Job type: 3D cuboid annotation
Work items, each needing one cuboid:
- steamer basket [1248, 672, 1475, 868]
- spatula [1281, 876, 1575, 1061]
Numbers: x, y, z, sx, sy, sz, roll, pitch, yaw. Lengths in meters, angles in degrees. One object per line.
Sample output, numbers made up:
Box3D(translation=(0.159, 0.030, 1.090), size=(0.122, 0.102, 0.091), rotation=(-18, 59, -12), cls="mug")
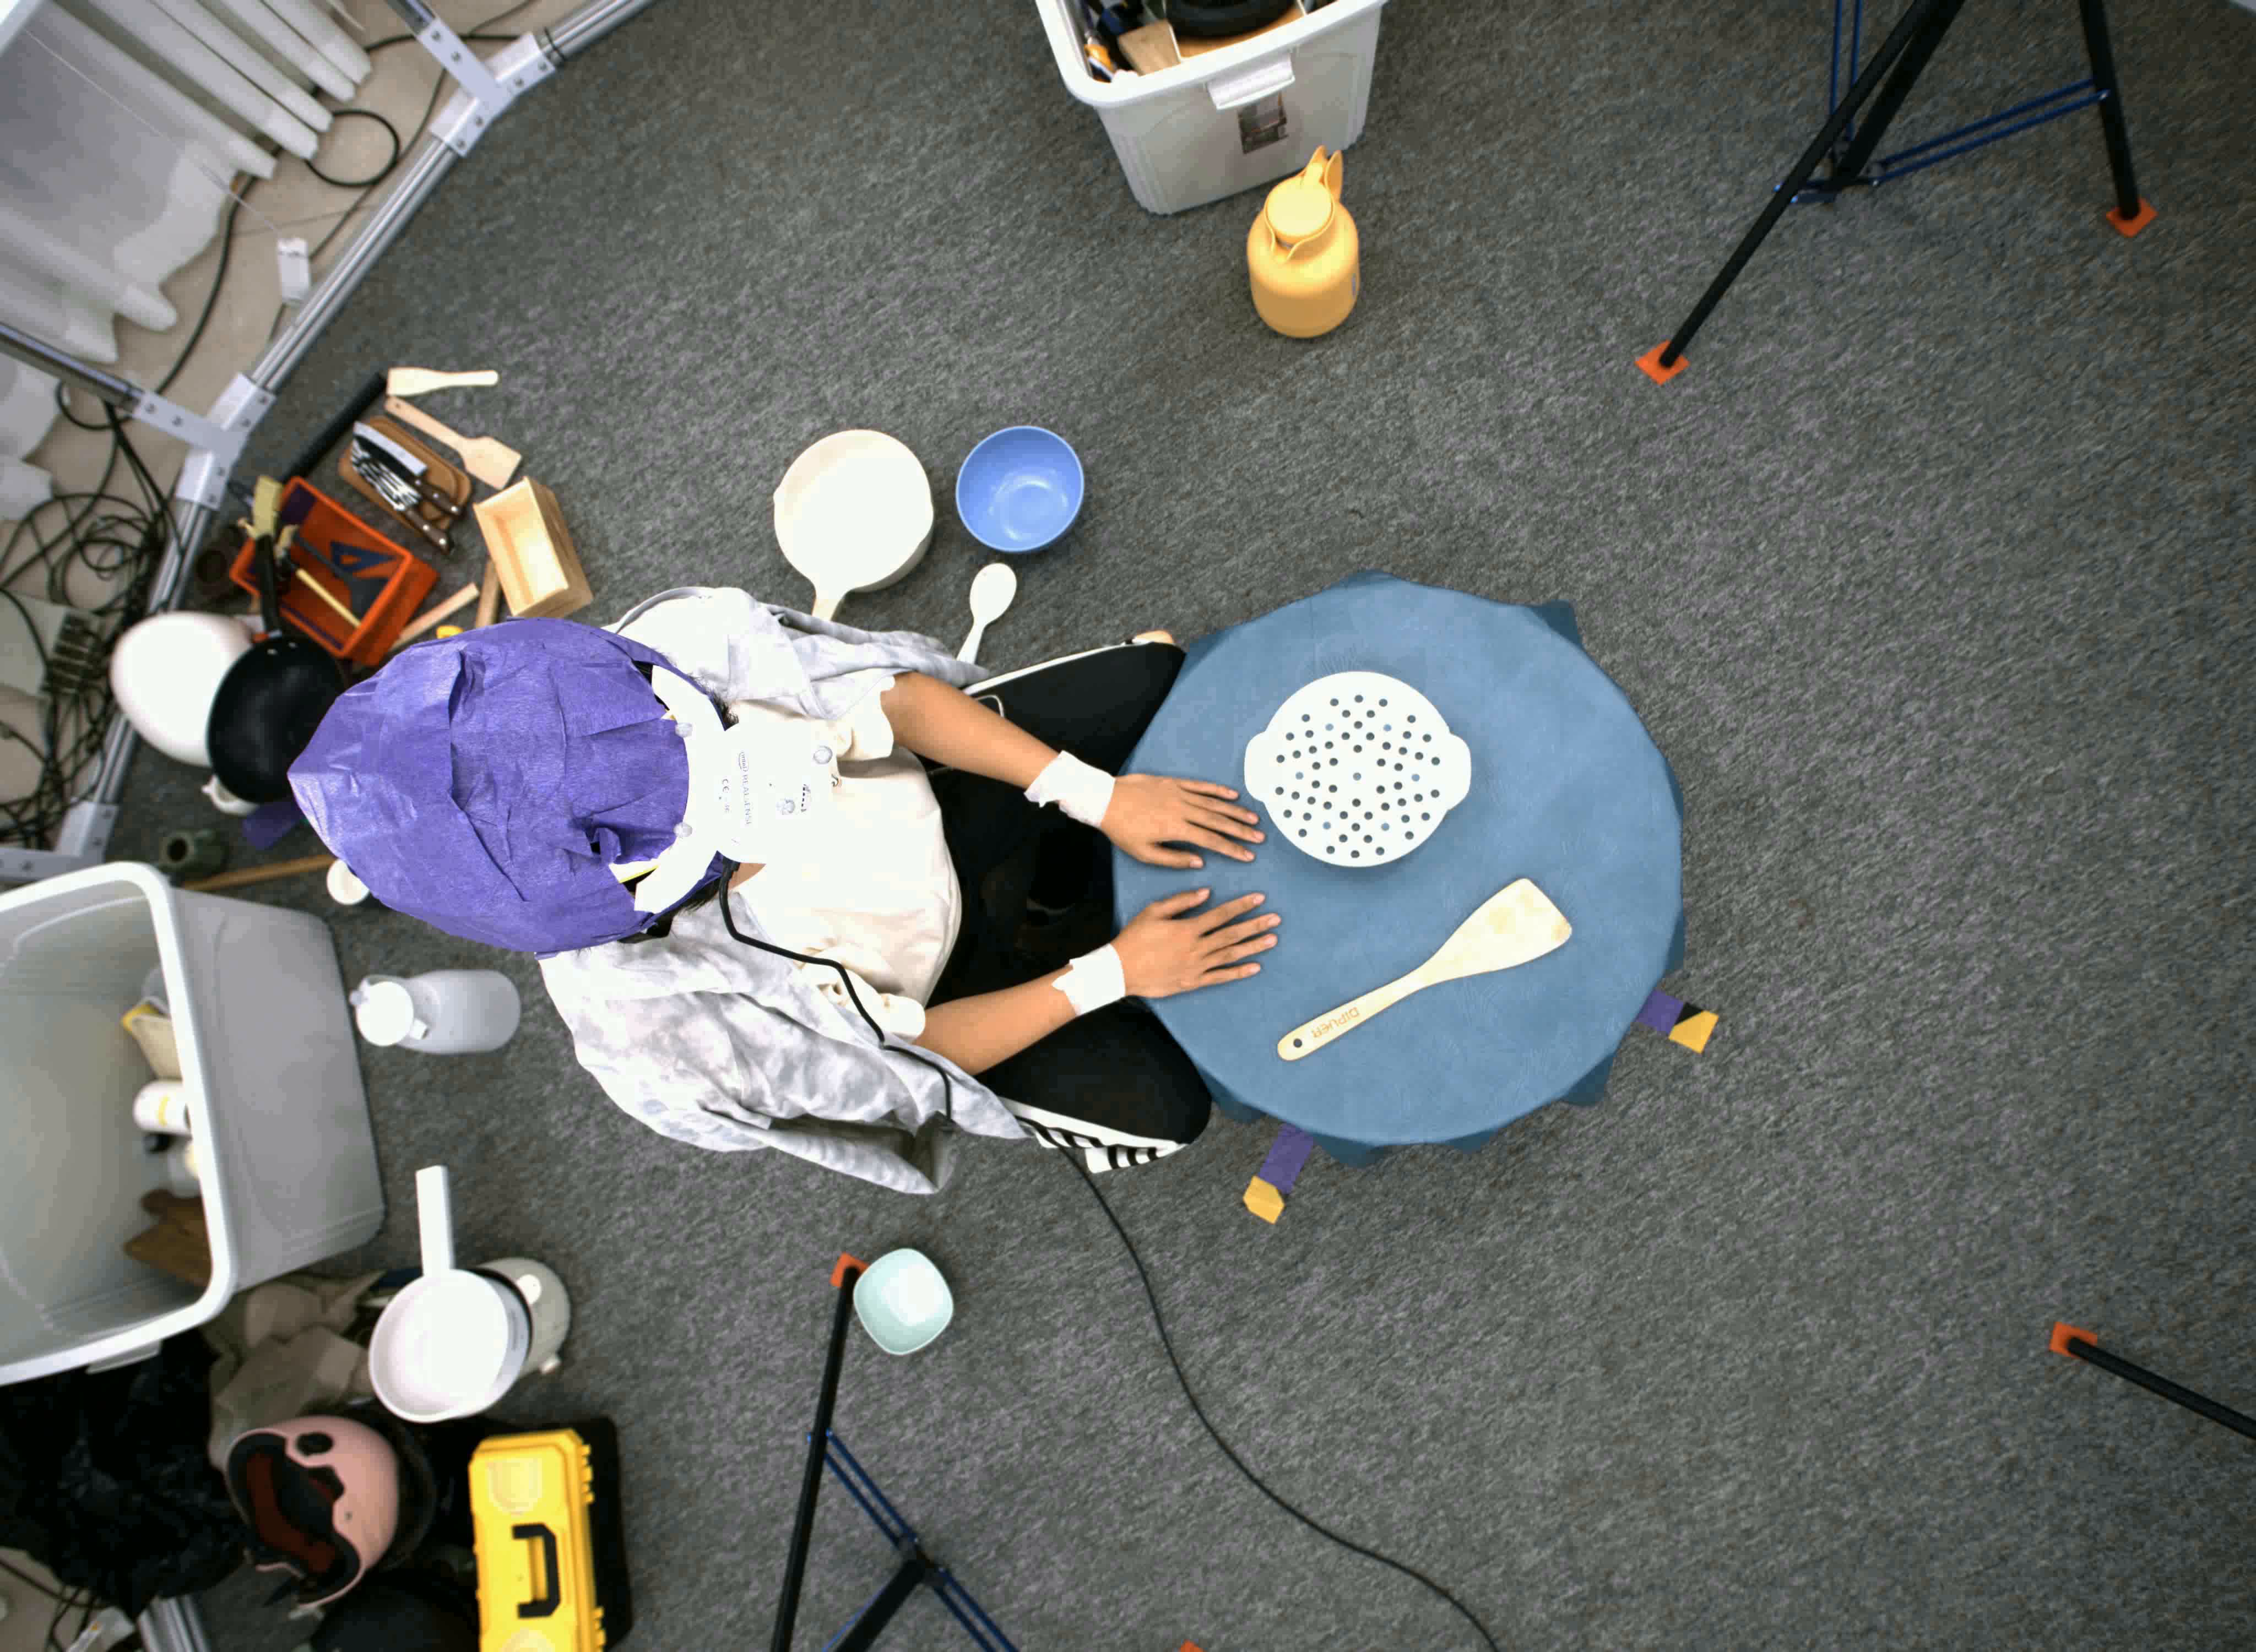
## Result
Box3D(translation=(0.243, -0.057, 1.437), size=(0.231, 0.069, 0.201), rotation=(2, 85, 12), cls="steamer basket")
Box3D(translation=(0.303, 0.157, 1.438), size=(0.329, 0.016, 0.079), rotation=(-30, 81, 8), cls="spatula")
